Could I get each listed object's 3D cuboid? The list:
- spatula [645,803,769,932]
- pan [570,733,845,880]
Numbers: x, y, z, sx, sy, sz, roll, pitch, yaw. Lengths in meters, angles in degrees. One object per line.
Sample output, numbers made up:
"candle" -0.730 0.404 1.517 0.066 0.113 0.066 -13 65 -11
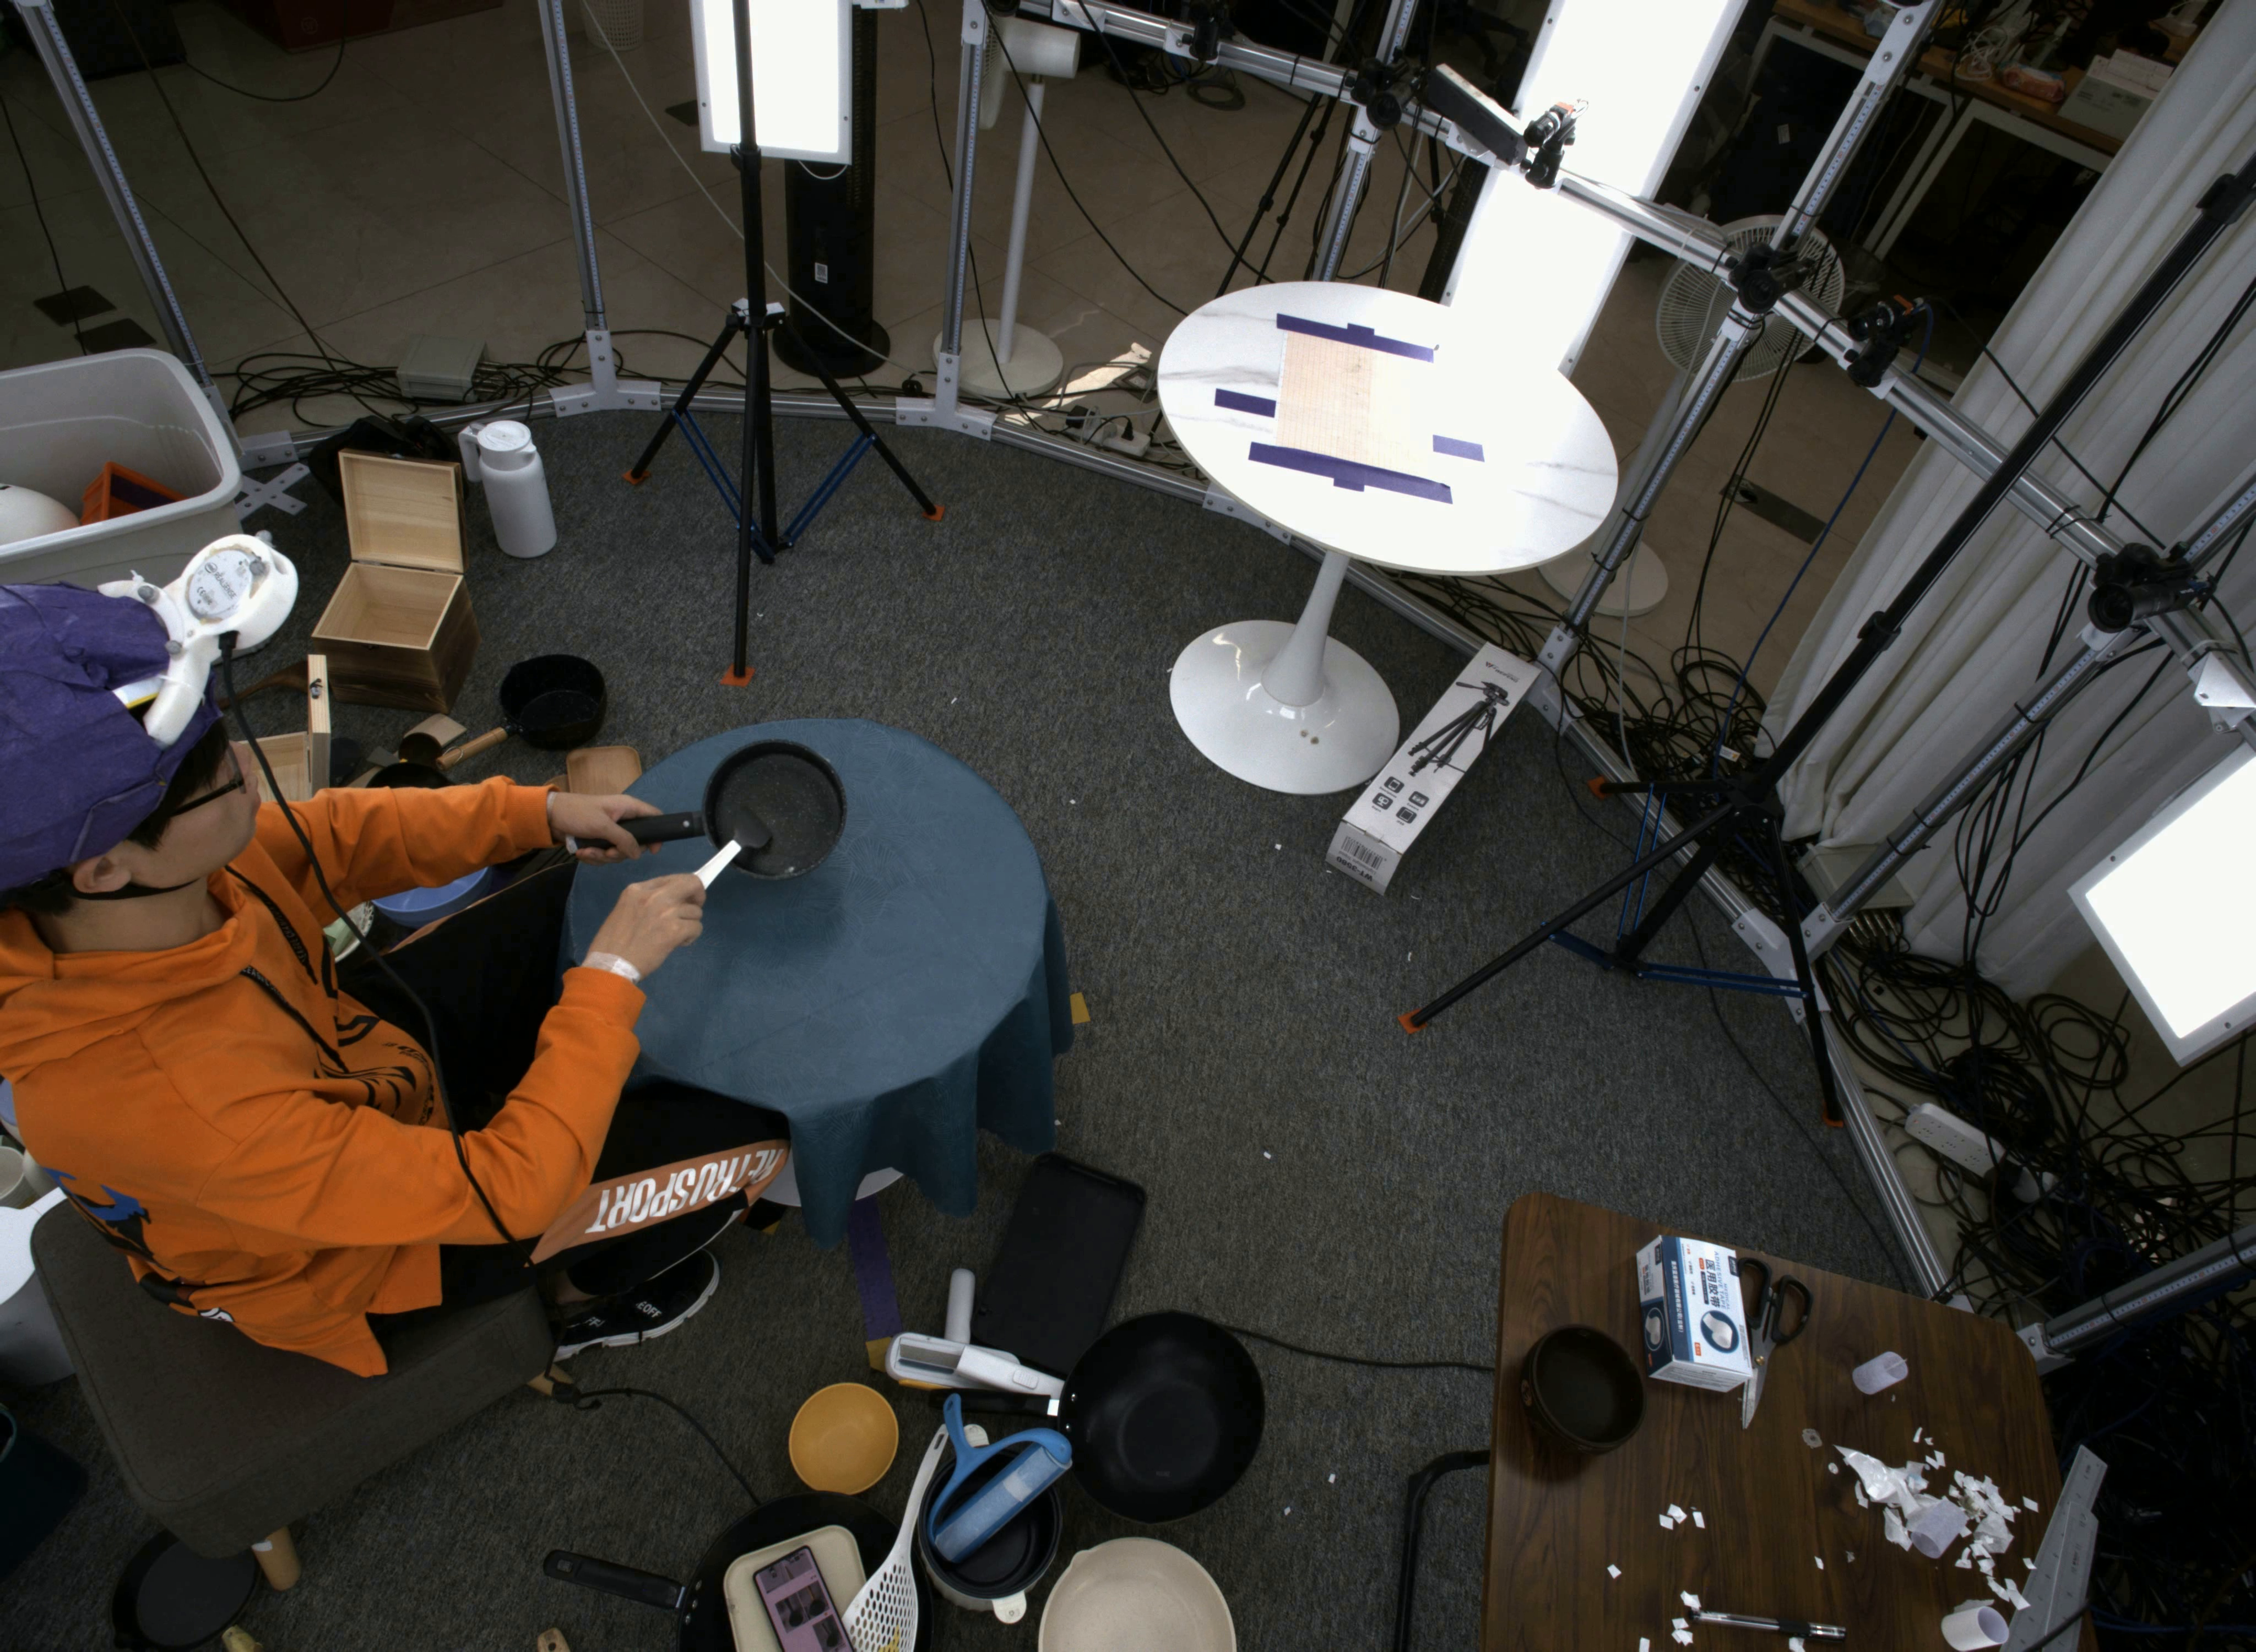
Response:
"spatula" -0.475 0.040 1.476 0.059 0.032 0.284 45 21 -12
"pan" -0.507 -0.010 1.556 0.329 0.086 0.173 -7 86 -16
